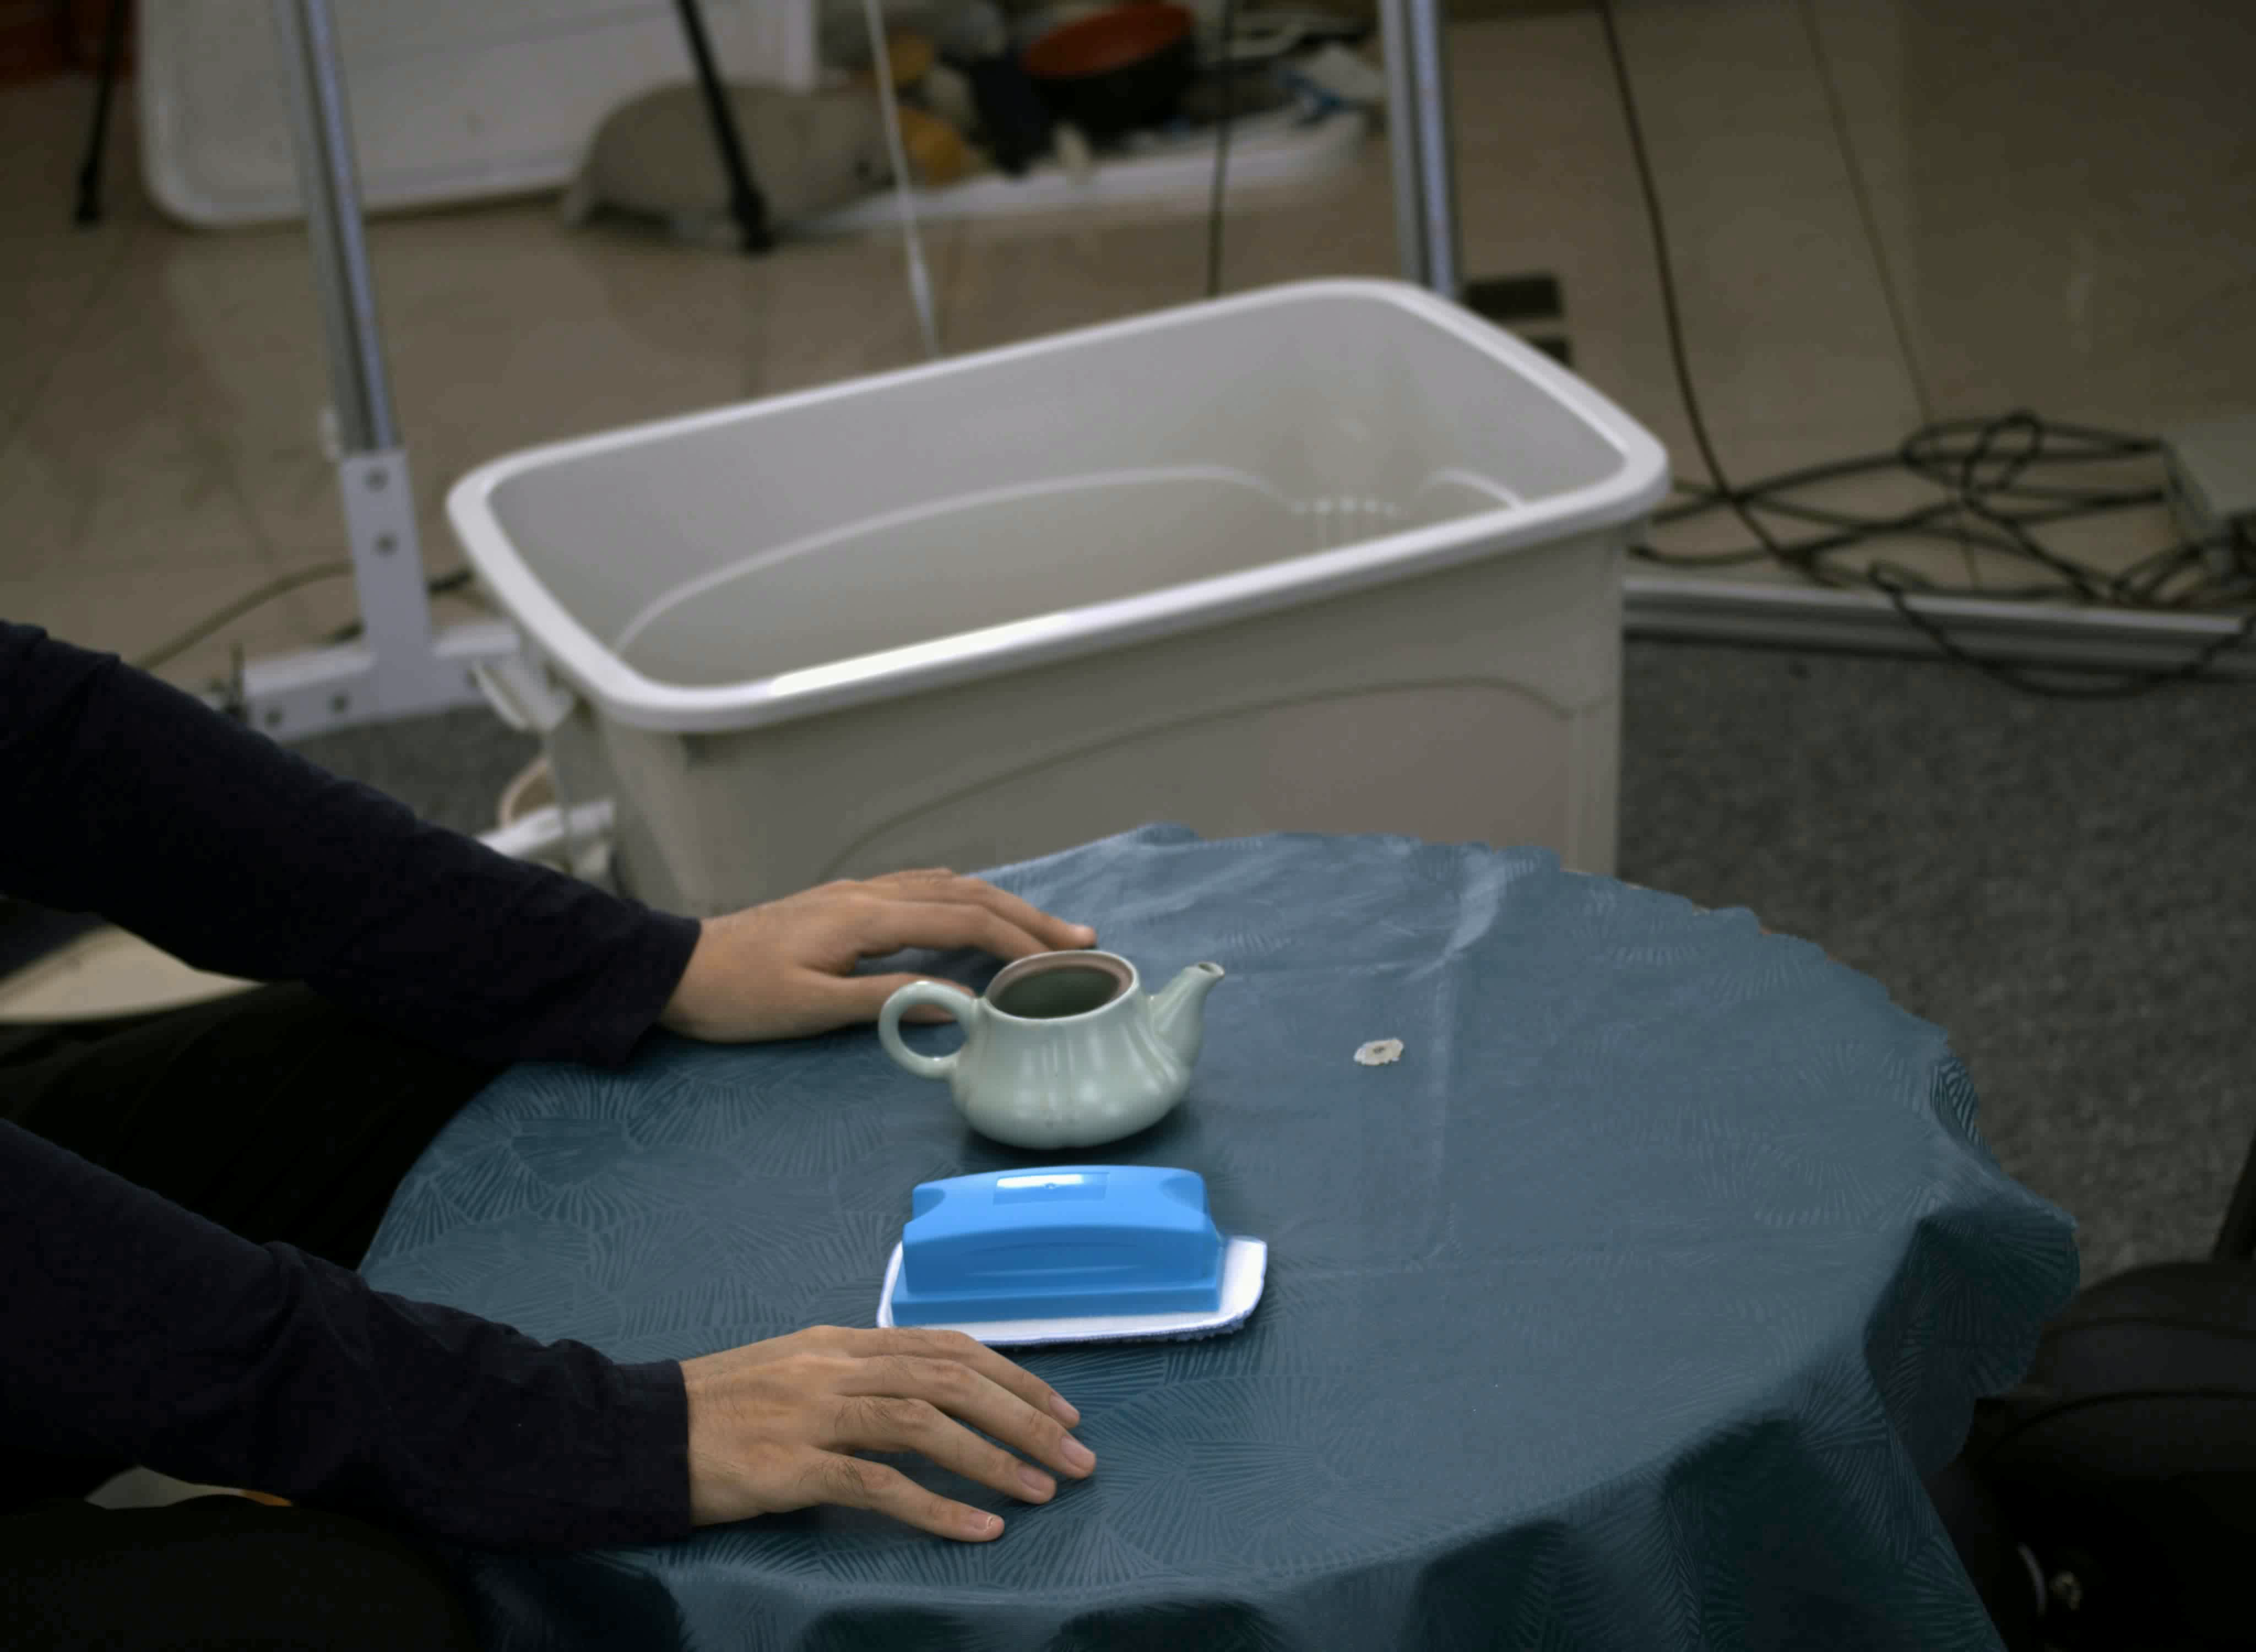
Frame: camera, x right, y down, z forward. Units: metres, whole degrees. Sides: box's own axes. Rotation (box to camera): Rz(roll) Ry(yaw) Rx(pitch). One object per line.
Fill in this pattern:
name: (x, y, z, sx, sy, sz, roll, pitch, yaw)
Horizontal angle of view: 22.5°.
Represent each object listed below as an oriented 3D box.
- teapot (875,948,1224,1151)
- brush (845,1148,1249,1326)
teapot: (-0.029, 0.085, 2.198, 0.137, 0.062, 0.094, -4, 27, 3)
brush: (-0.030, 0.148, 2.062, 0.143, 0.057, 0.083, 0, 23, 8)
